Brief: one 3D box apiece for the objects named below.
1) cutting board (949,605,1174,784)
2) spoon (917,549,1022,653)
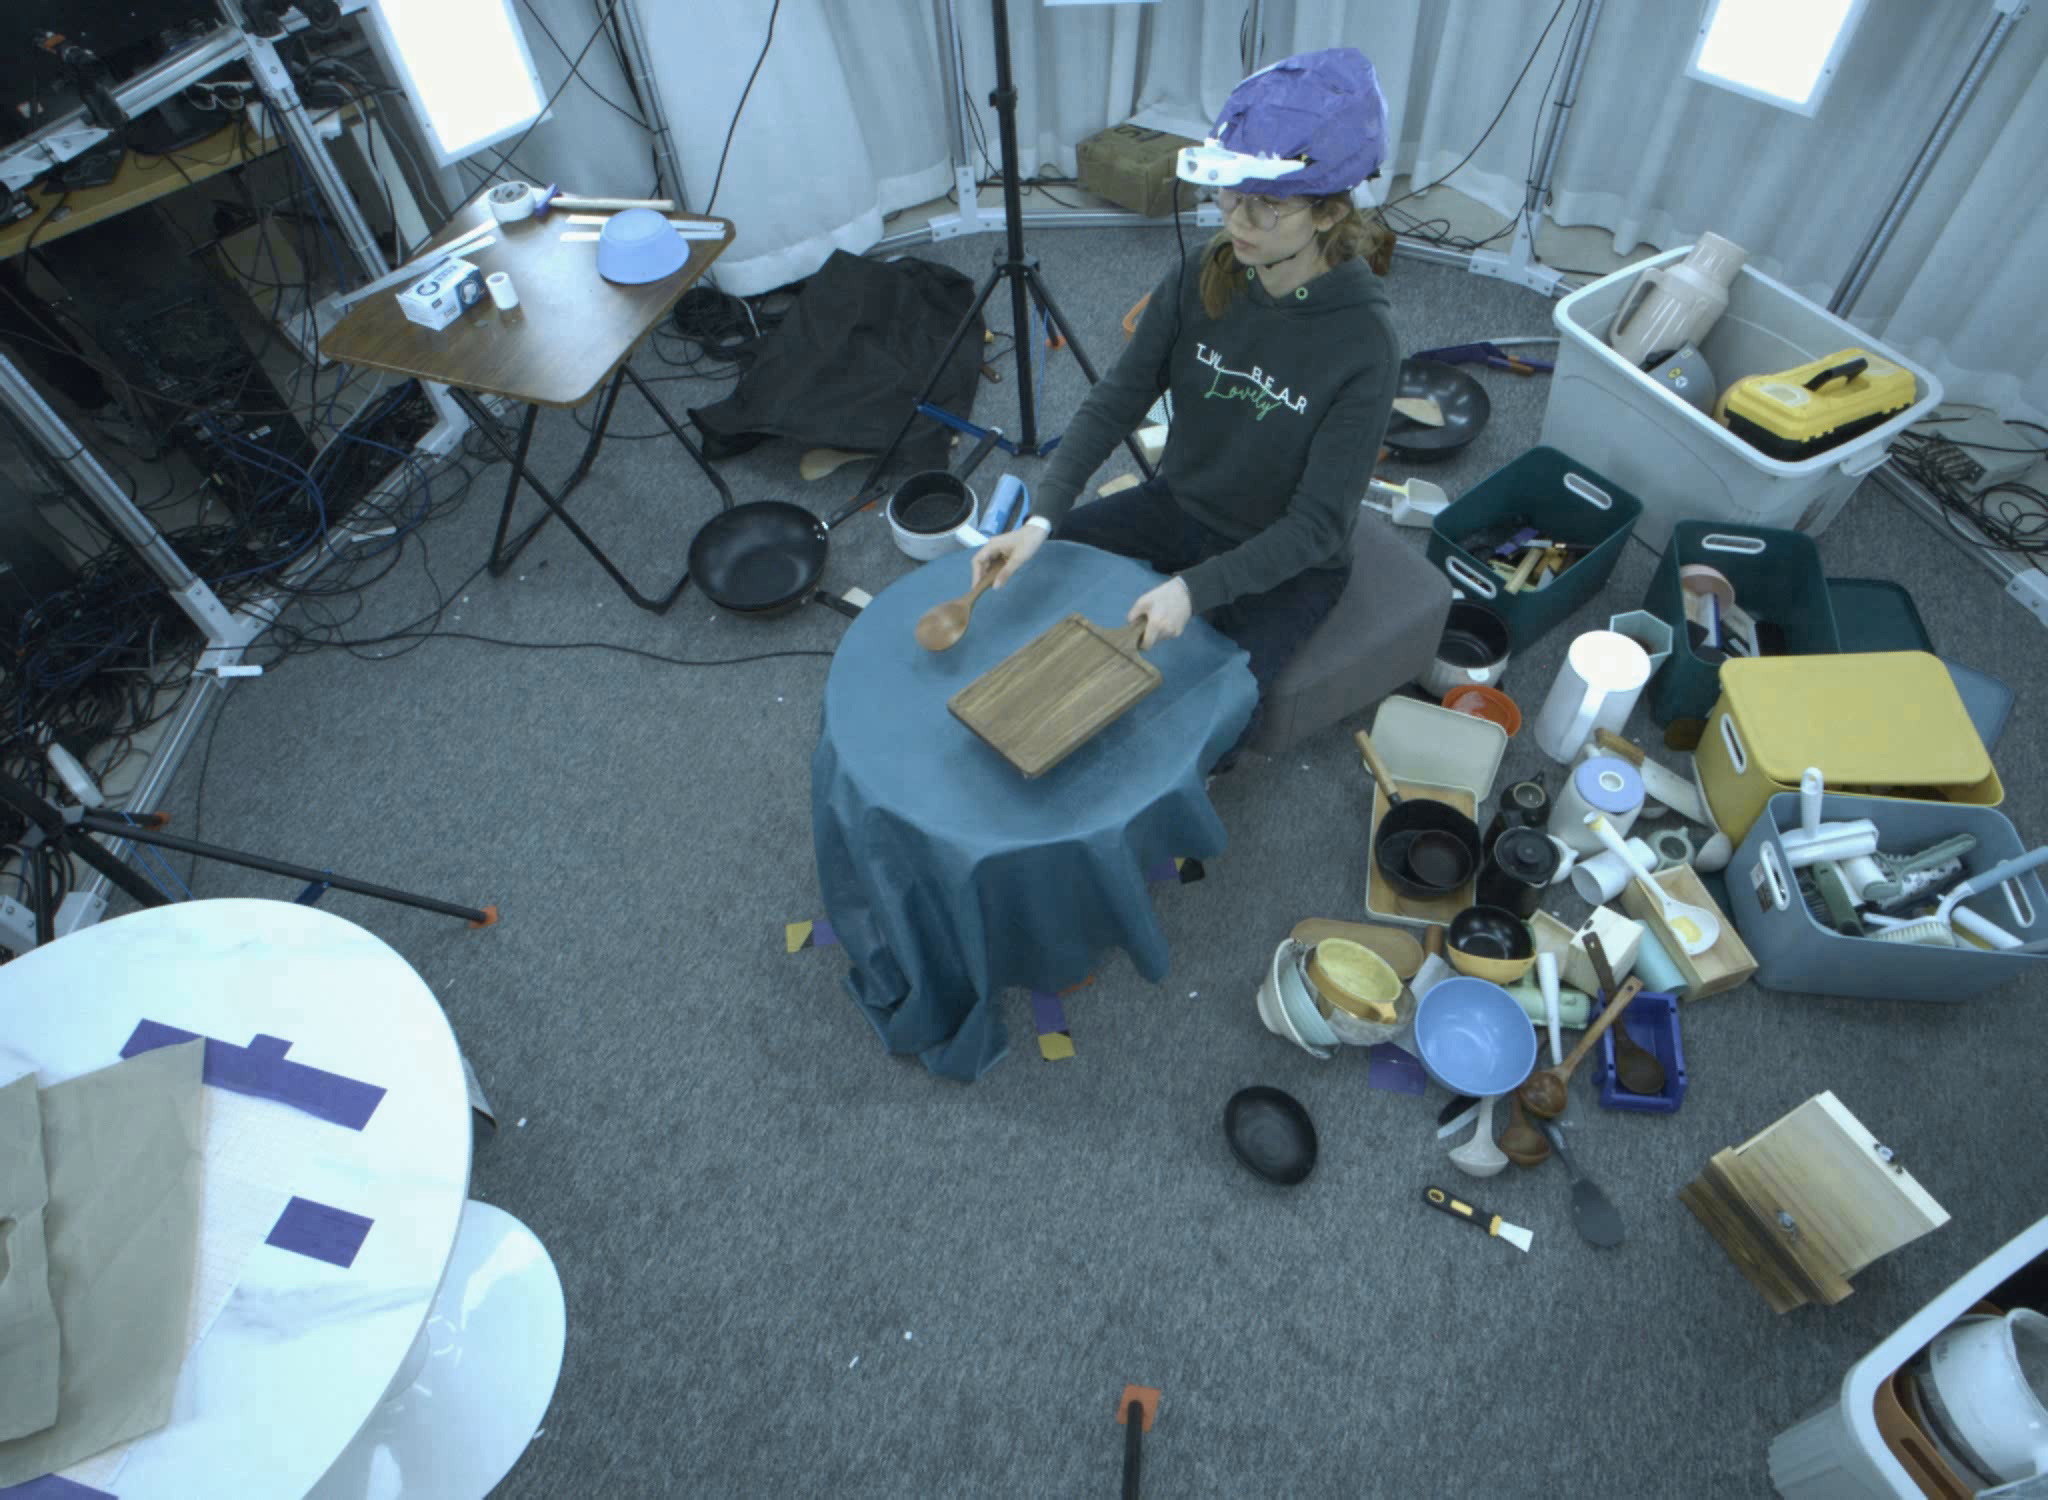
[{"bbox_3d":[0.084,-0.104,1.762,0.354,0.023,0.196,-37,53,-19],"label":"cutting board"},{"bbox_3d":[-0.080,-0.228,1.875,0.074,0.017,0.216,36,76,22],"label":"spoon"}]
